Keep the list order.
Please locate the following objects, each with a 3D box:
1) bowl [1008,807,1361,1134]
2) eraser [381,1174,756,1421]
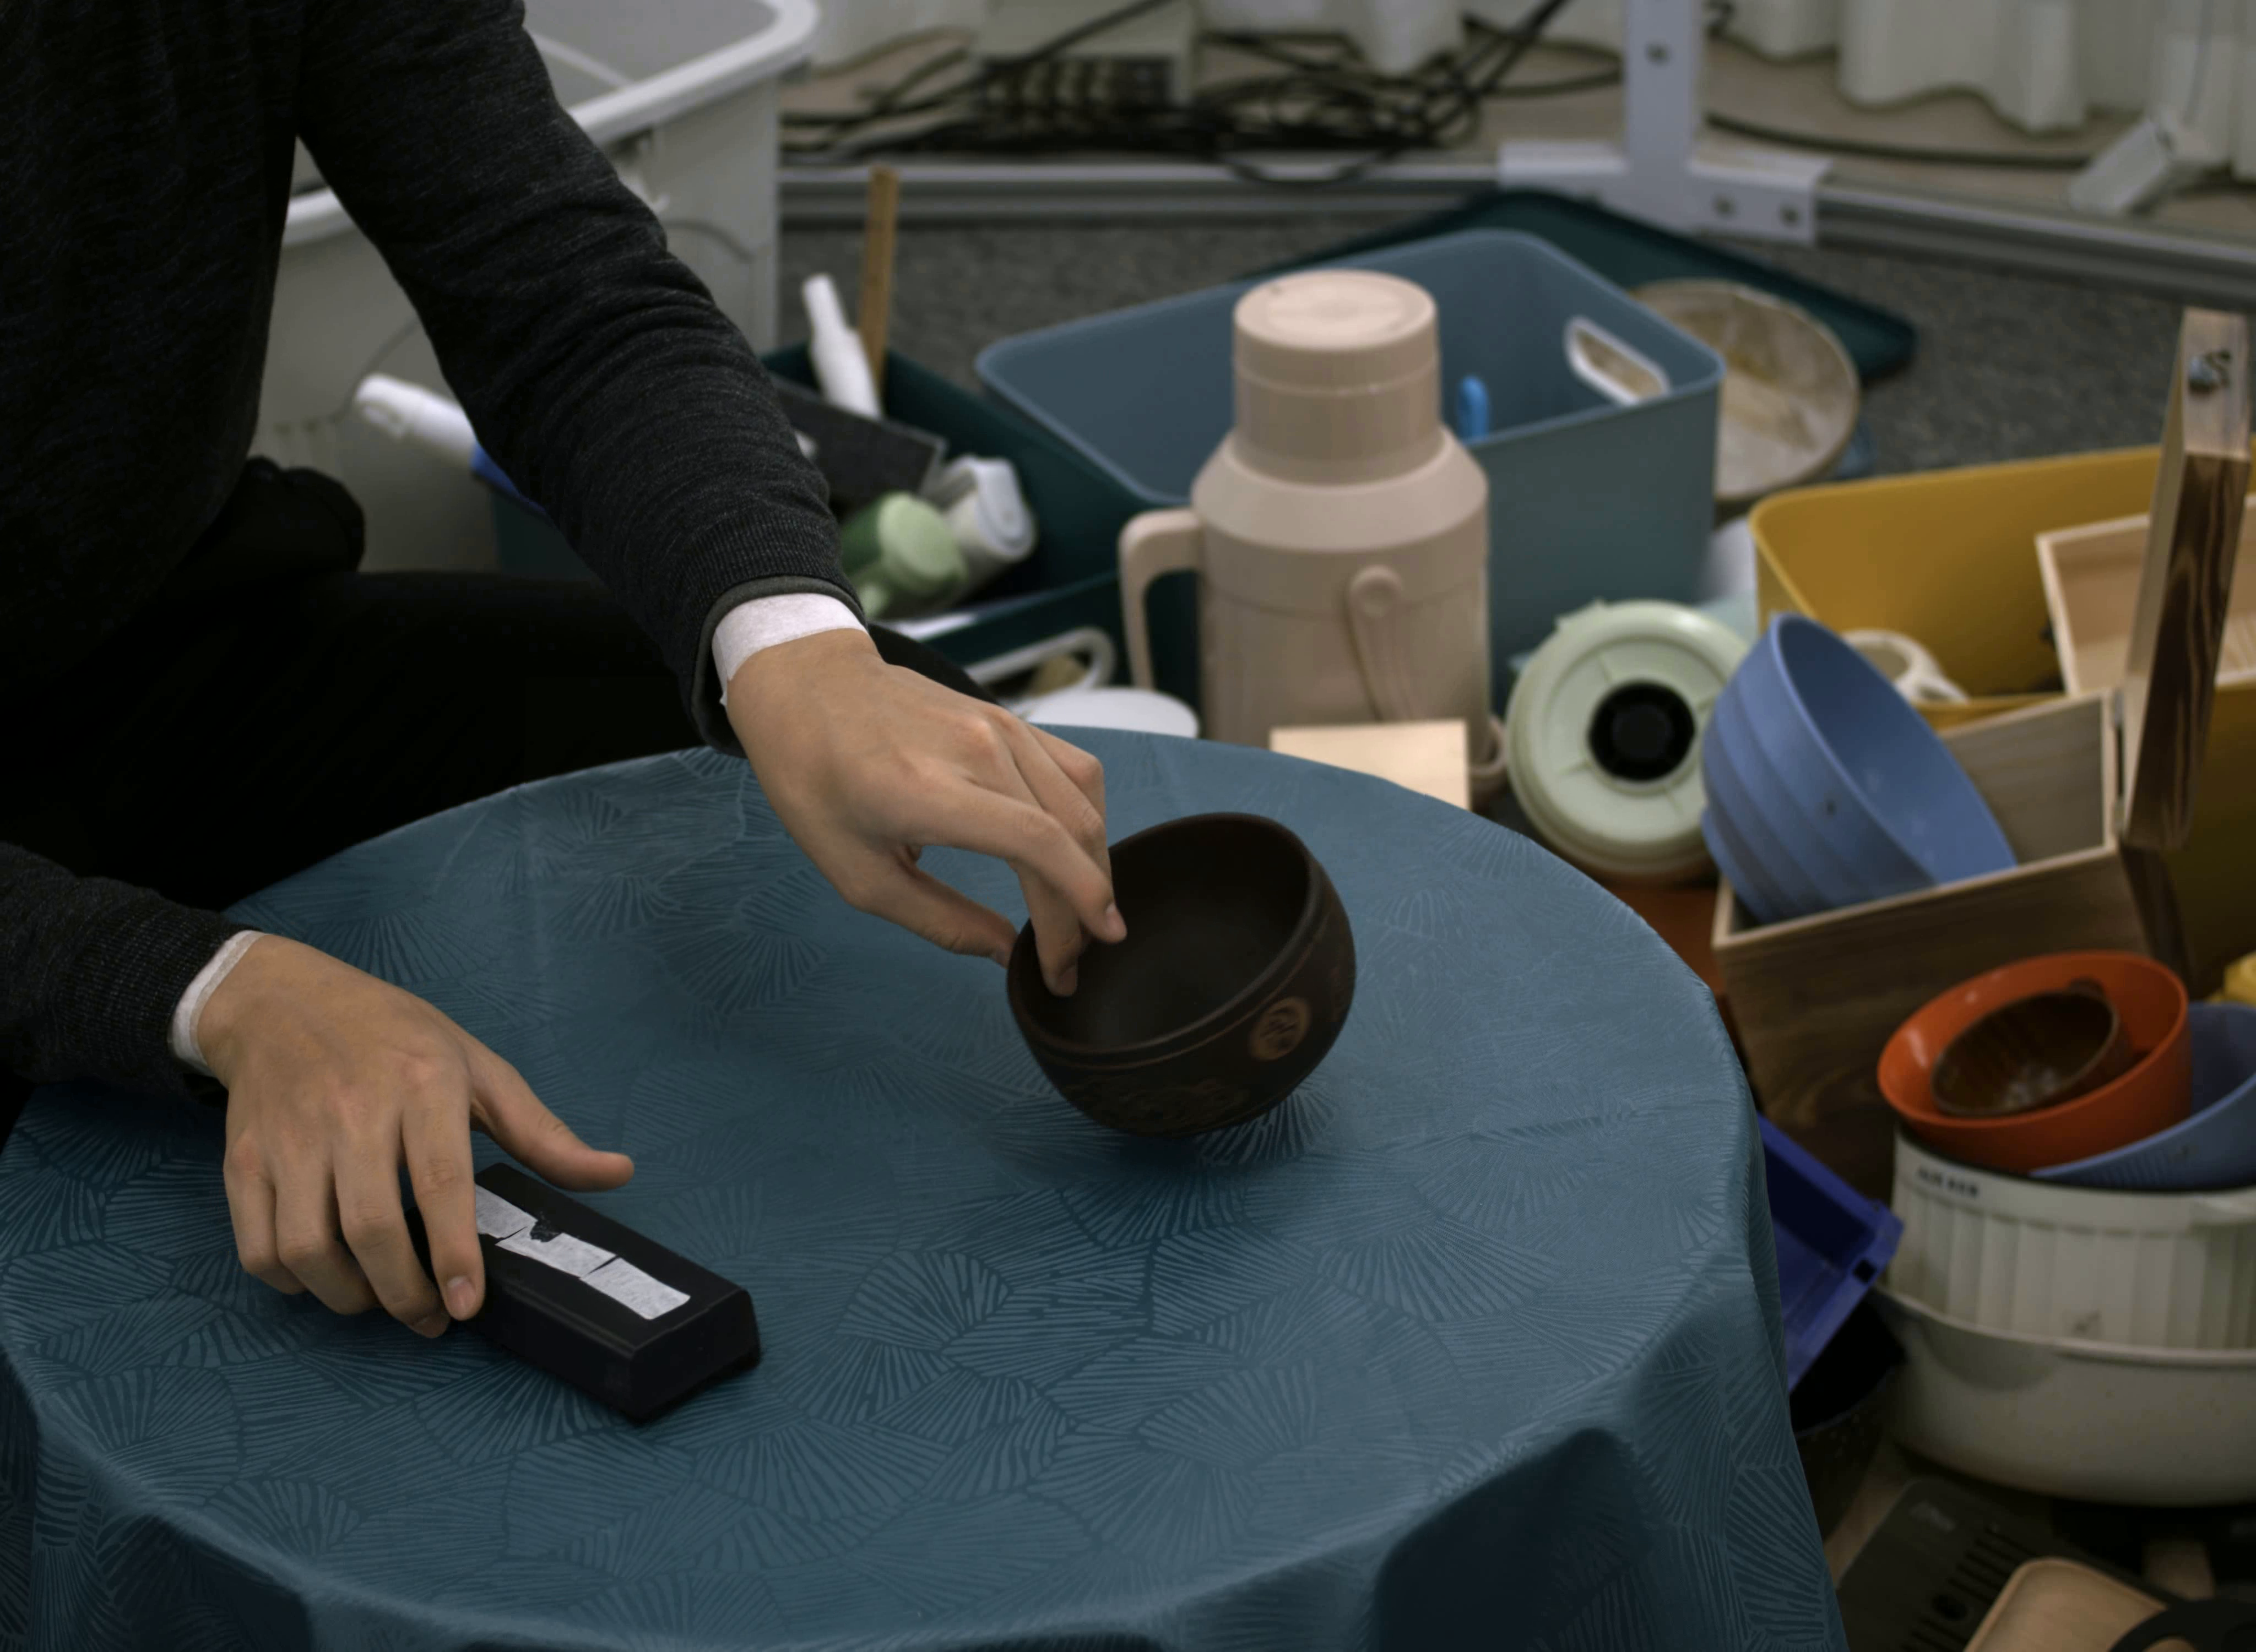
[{"bbox_3d":[0.025,0.057,1.891,0.117,0.069,0.120,-17,35,13],"label":"bowl"},{"bbox_3d":[-0.179,0.150,1.793,0.125,0.030,0.054,21,32,38],"label":"eraser"}]
